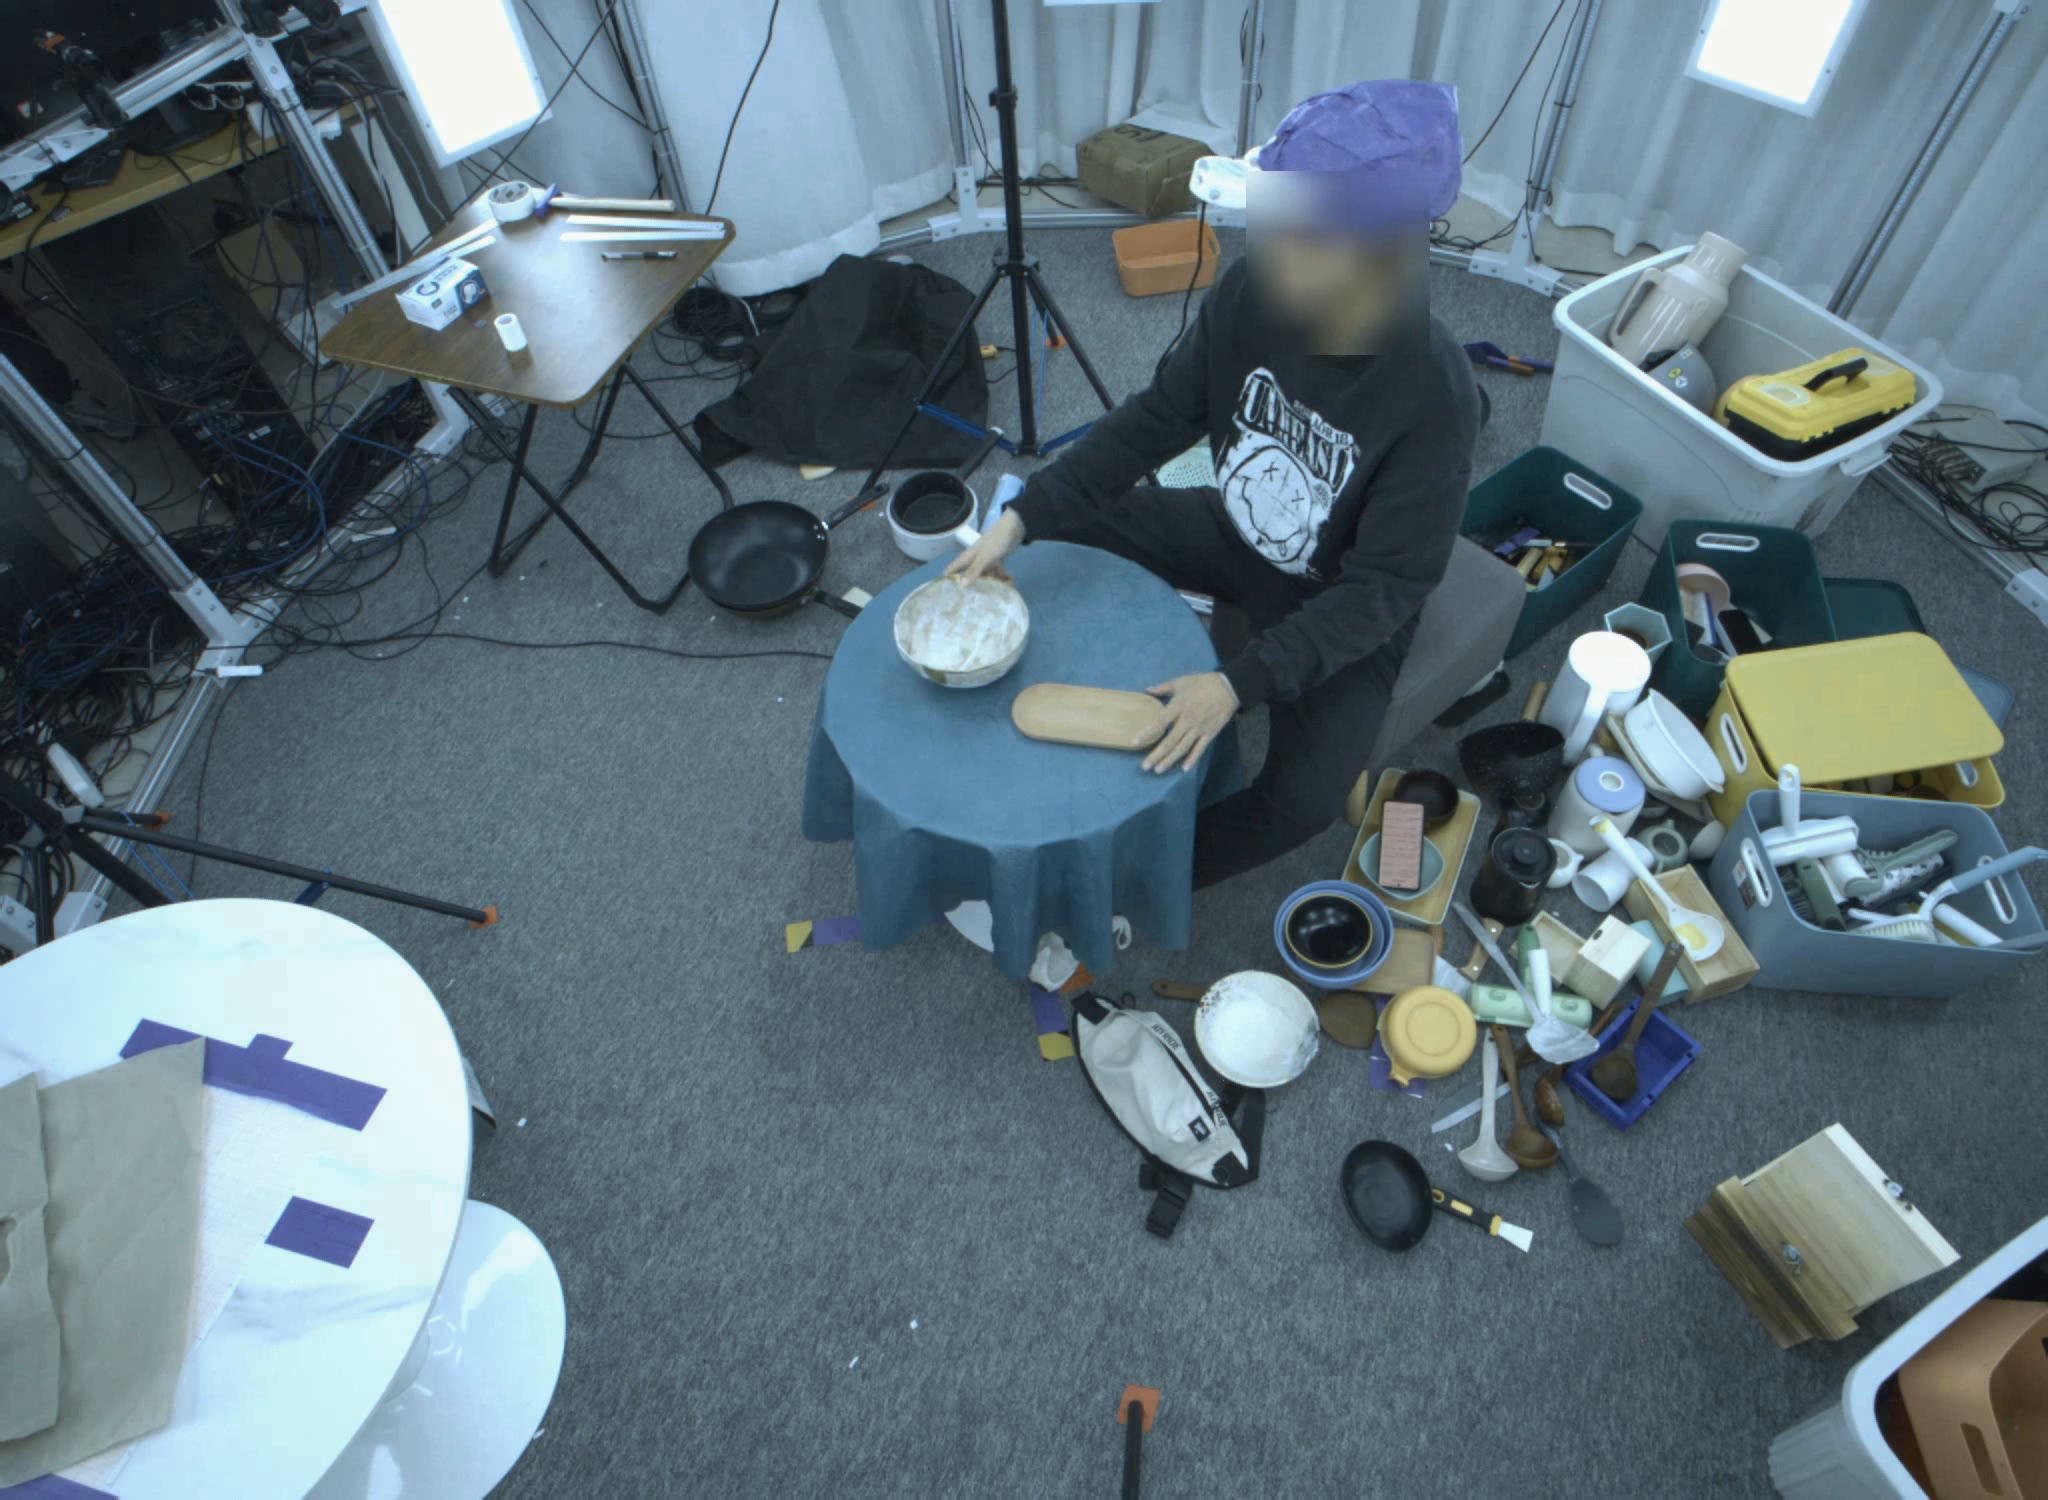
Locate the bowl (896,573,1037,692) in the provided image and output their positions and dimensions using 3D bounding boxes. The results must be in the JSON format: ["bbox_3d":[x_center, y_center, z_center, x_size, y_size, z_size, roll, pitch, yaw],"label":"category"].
[{"bbox_3d":[-0.084,-0.160,1.856,0.214,0.095,0.212,-1,54,2],"label":"bowl"}]

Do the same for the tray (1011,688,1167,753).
[{"bbox_3d":[0.095,-0.043,1.817,0.230,0.020,0.101,5,53,8],"label":"tray"}]
